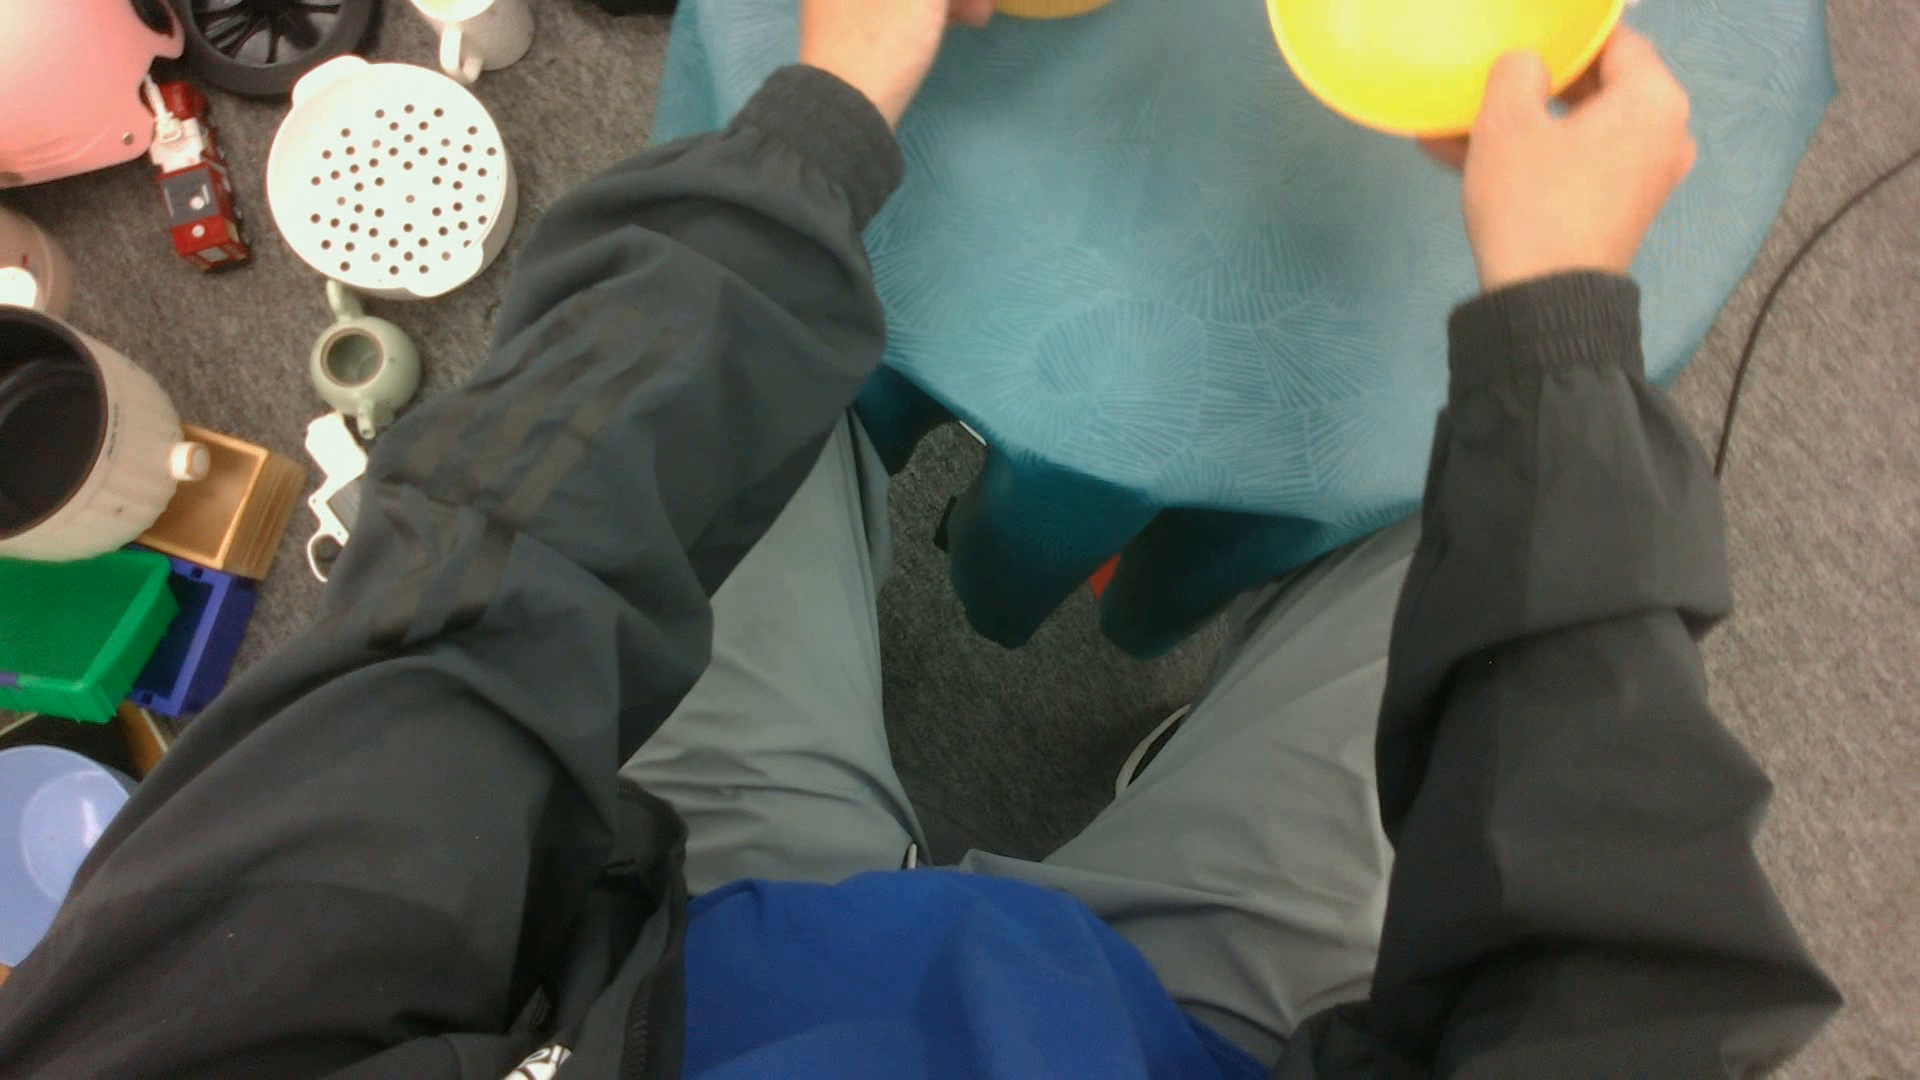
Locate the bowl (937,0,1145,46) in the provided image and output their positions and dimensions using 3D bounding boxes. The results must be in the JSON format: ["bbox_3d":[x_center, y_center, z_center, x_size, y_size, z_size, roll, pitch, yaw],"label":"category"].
[{"bbox_3d":[0.025,-0.316,0.661,0.179,0.074,0.153,-3,88,-9],"label":"bowl"}]

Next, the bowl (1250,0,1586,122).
[{"bbox_3d":[0.203,-0.251,0.601,0.145,0.060,0.145,3,97,25],"label":"bowl"}]
